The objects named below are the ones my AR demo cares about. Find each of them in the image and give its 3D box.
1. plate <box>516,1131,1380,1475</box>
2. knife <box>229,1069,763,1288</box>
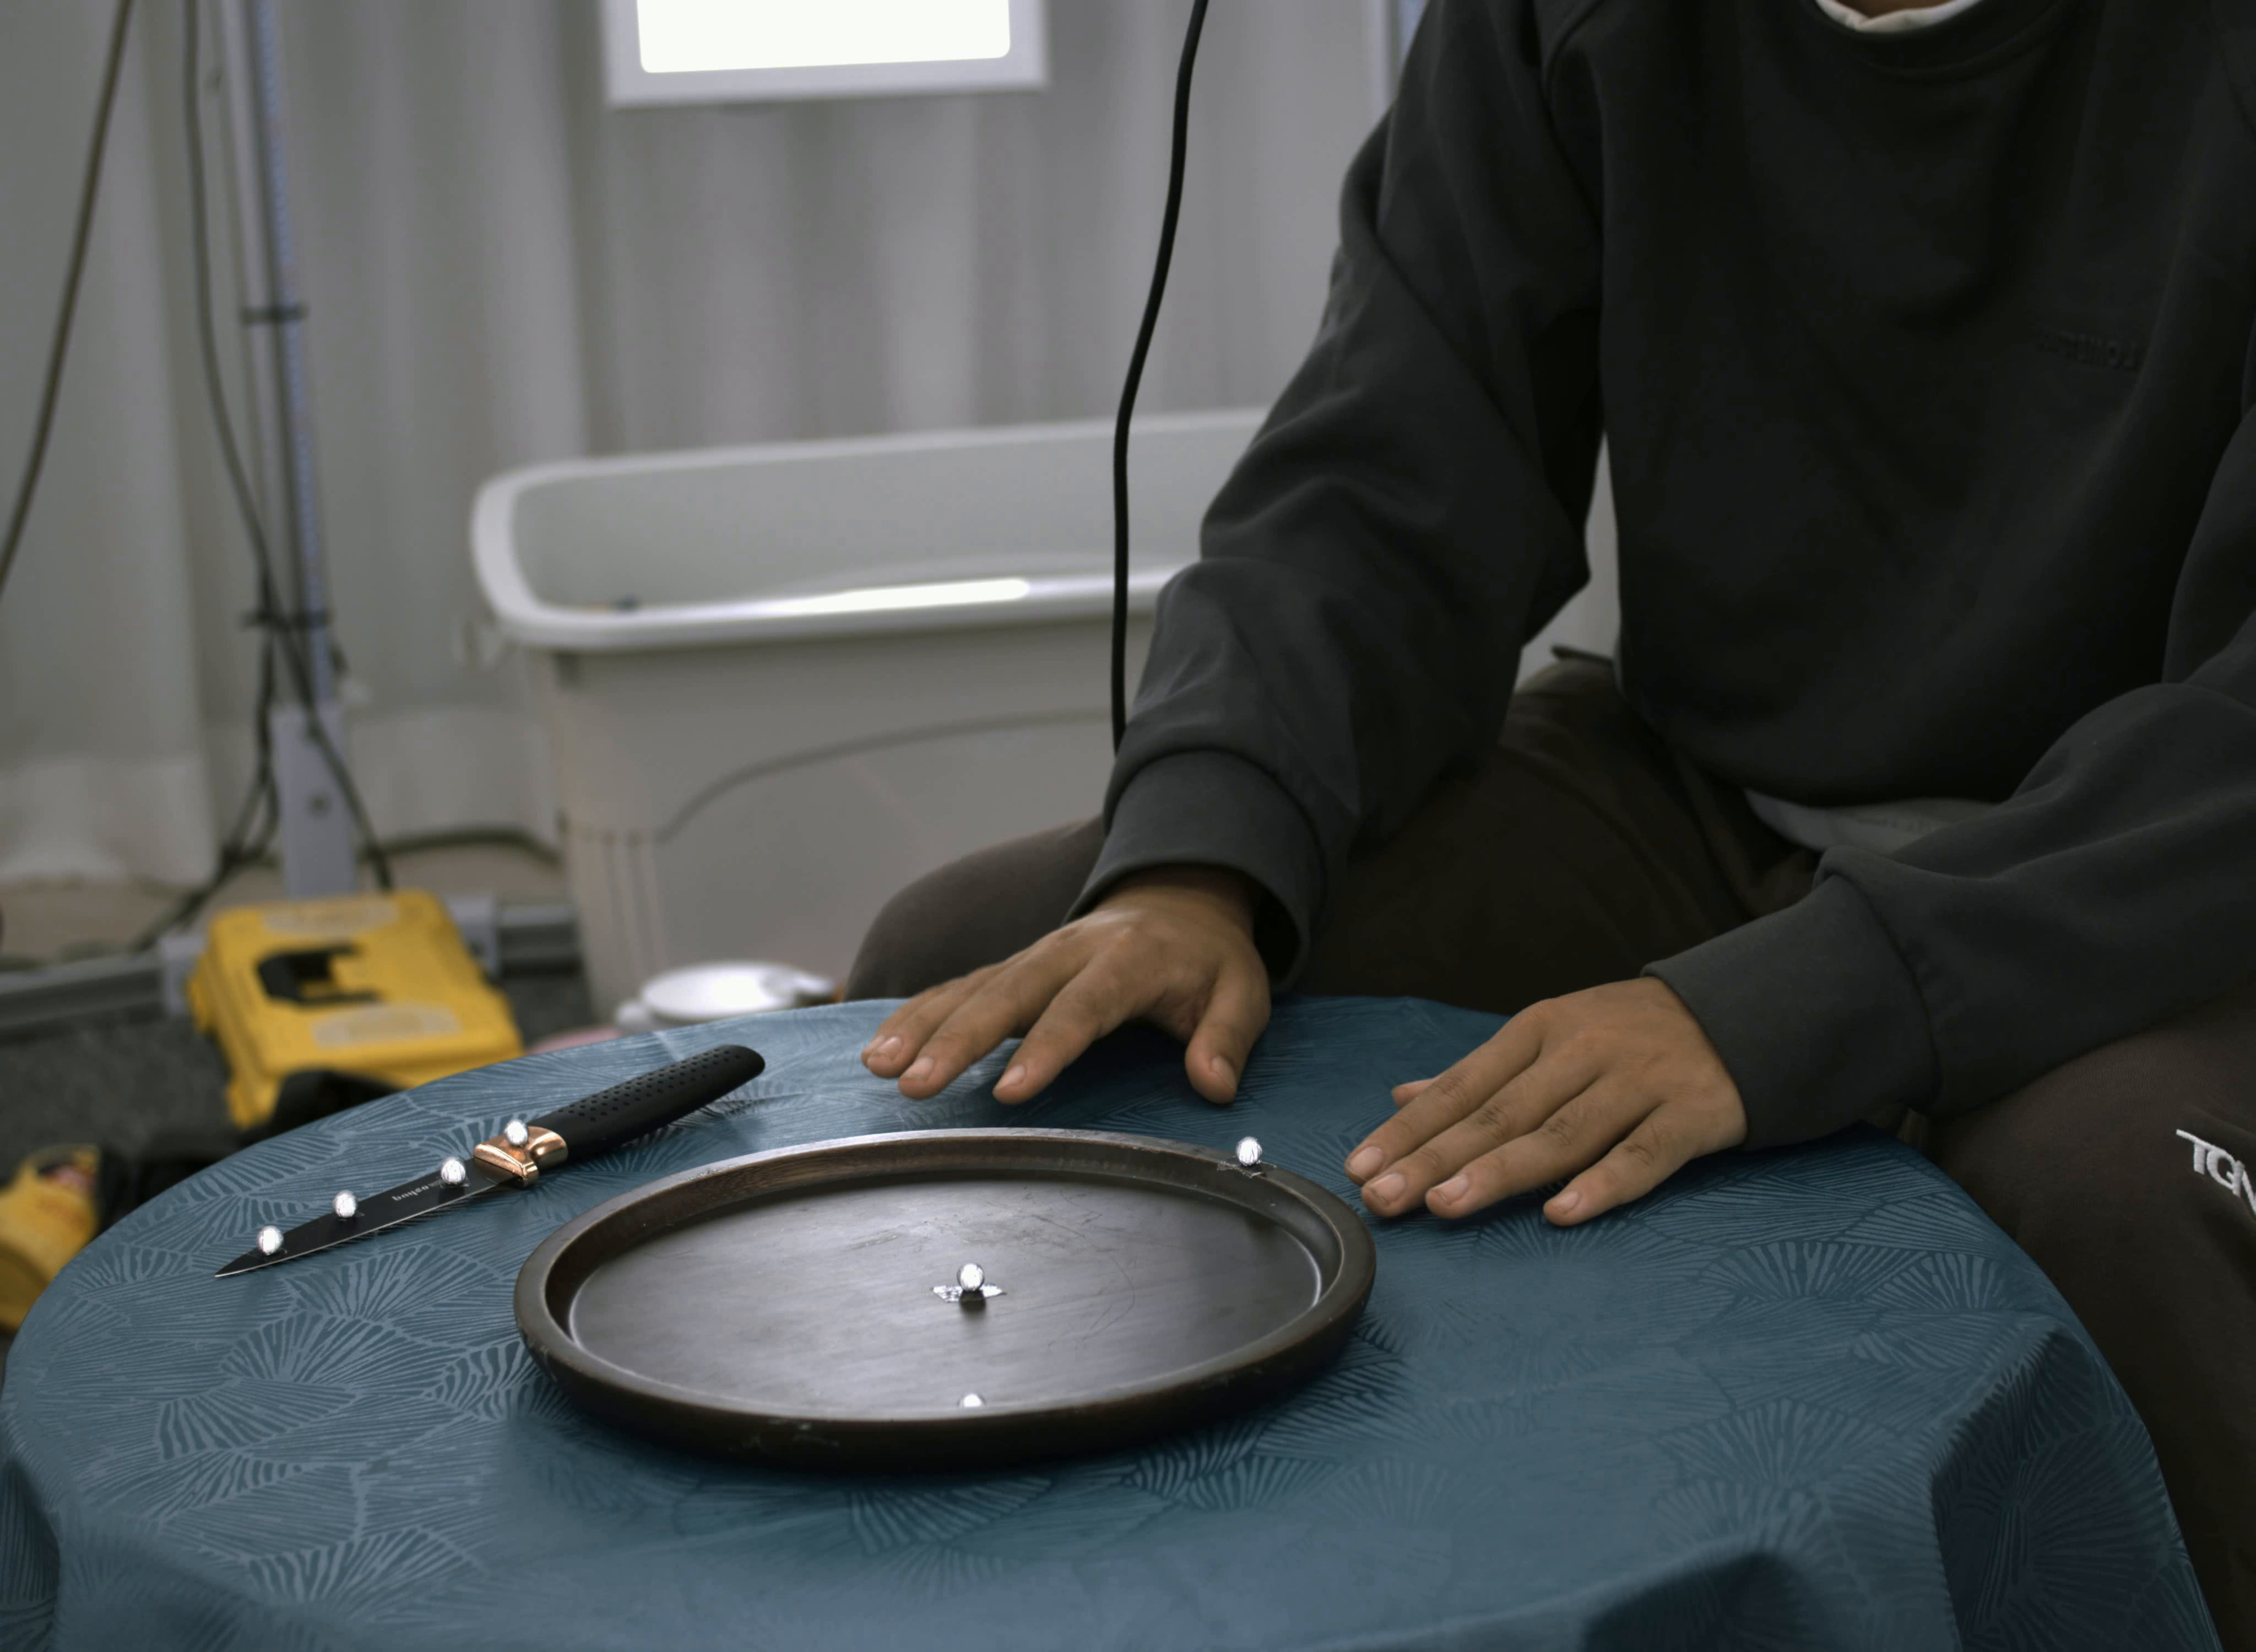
[{"bbox_3d":[-0.052,0.137,1.598,0.254,0.029,0.256,-3,13,0],"label":"plate"},{"bbox_3d":[-0.200,0.112,1.744,0.026,0.017,0.225,19,26,40],"label":"knife"}]
